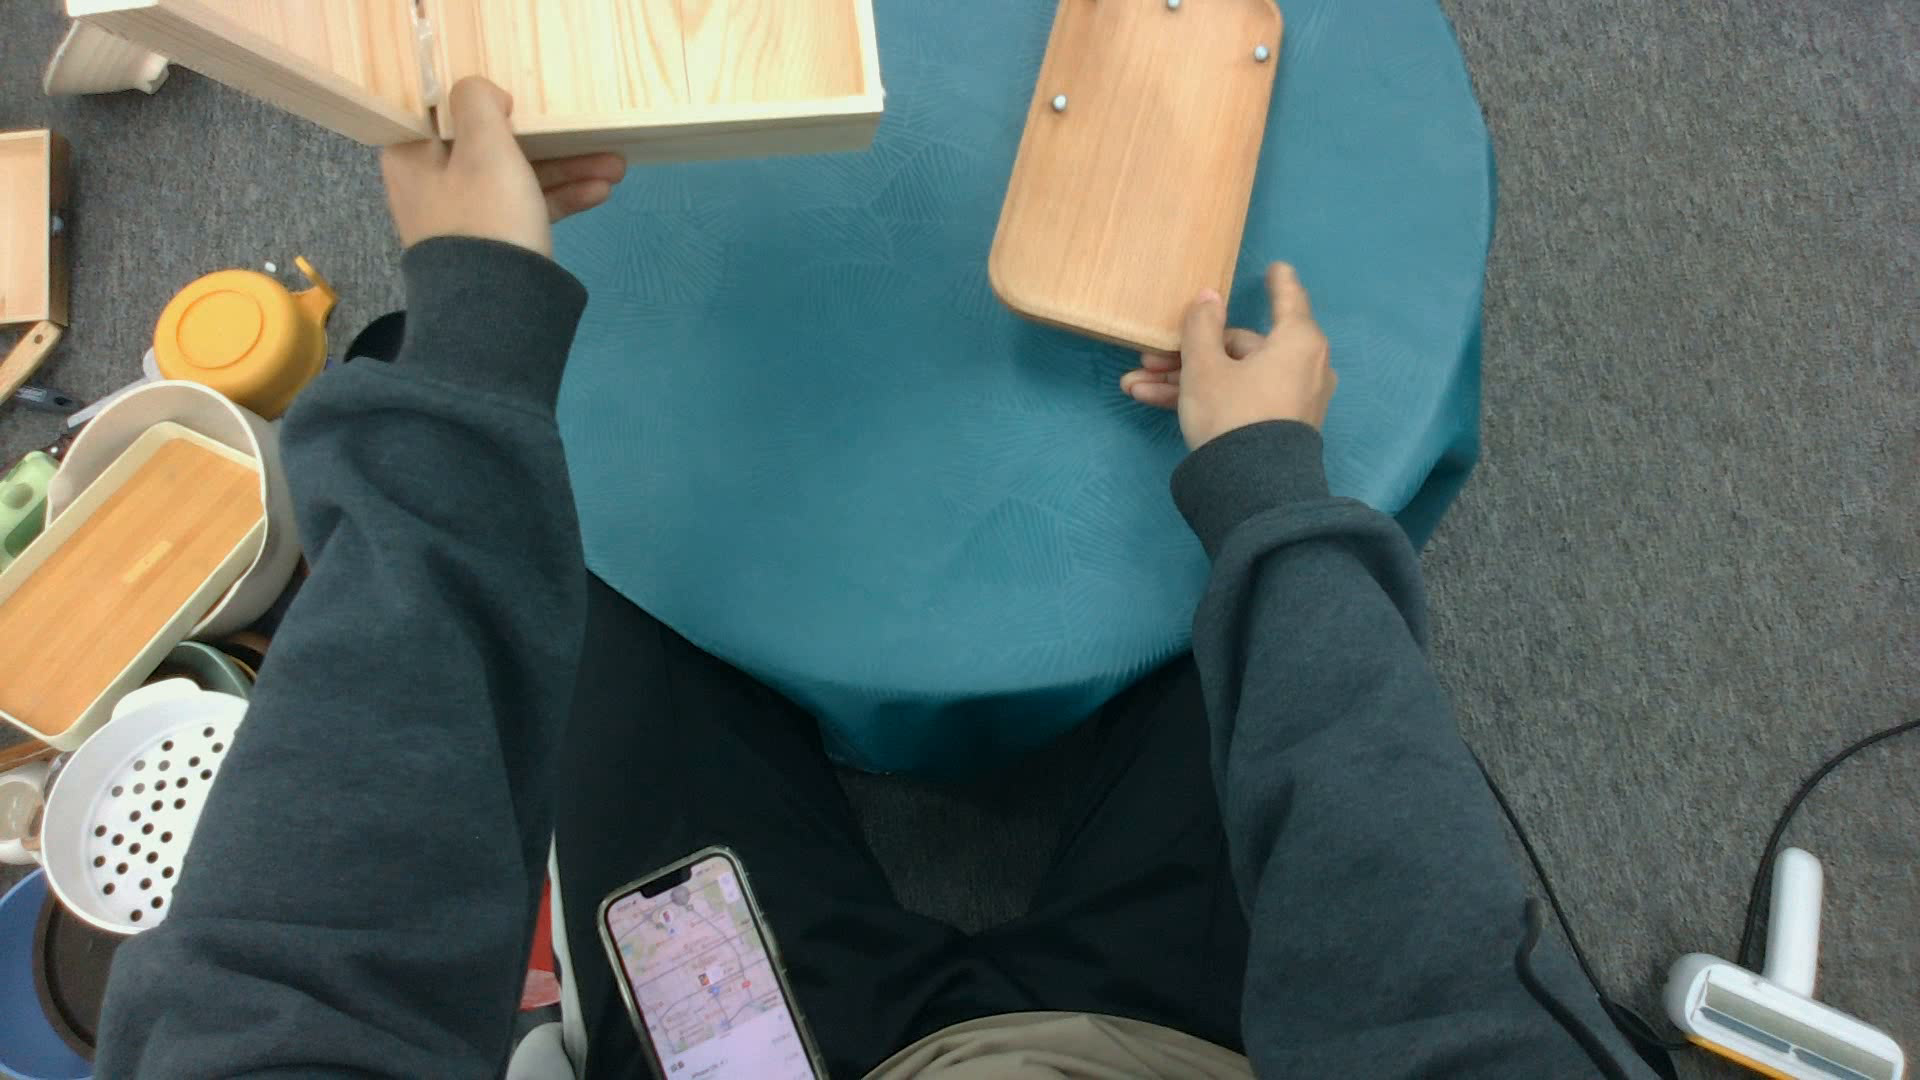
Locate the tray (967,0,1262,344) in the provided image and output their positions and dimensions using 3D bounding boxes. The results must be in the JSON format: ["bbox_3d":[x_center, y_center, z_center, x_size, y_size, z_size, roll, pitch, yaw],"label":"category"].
[{"bbox_3d":[0.088,-0.222,0.756,0.130,0.023,0.251,13,68,4],"label":"tray"}]

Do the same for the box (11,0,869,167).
[{"bbox_3d":[-0.164,-0.256,0.513,0.265,0.253,0.181,-8,97,-8],"label":"box"}]
